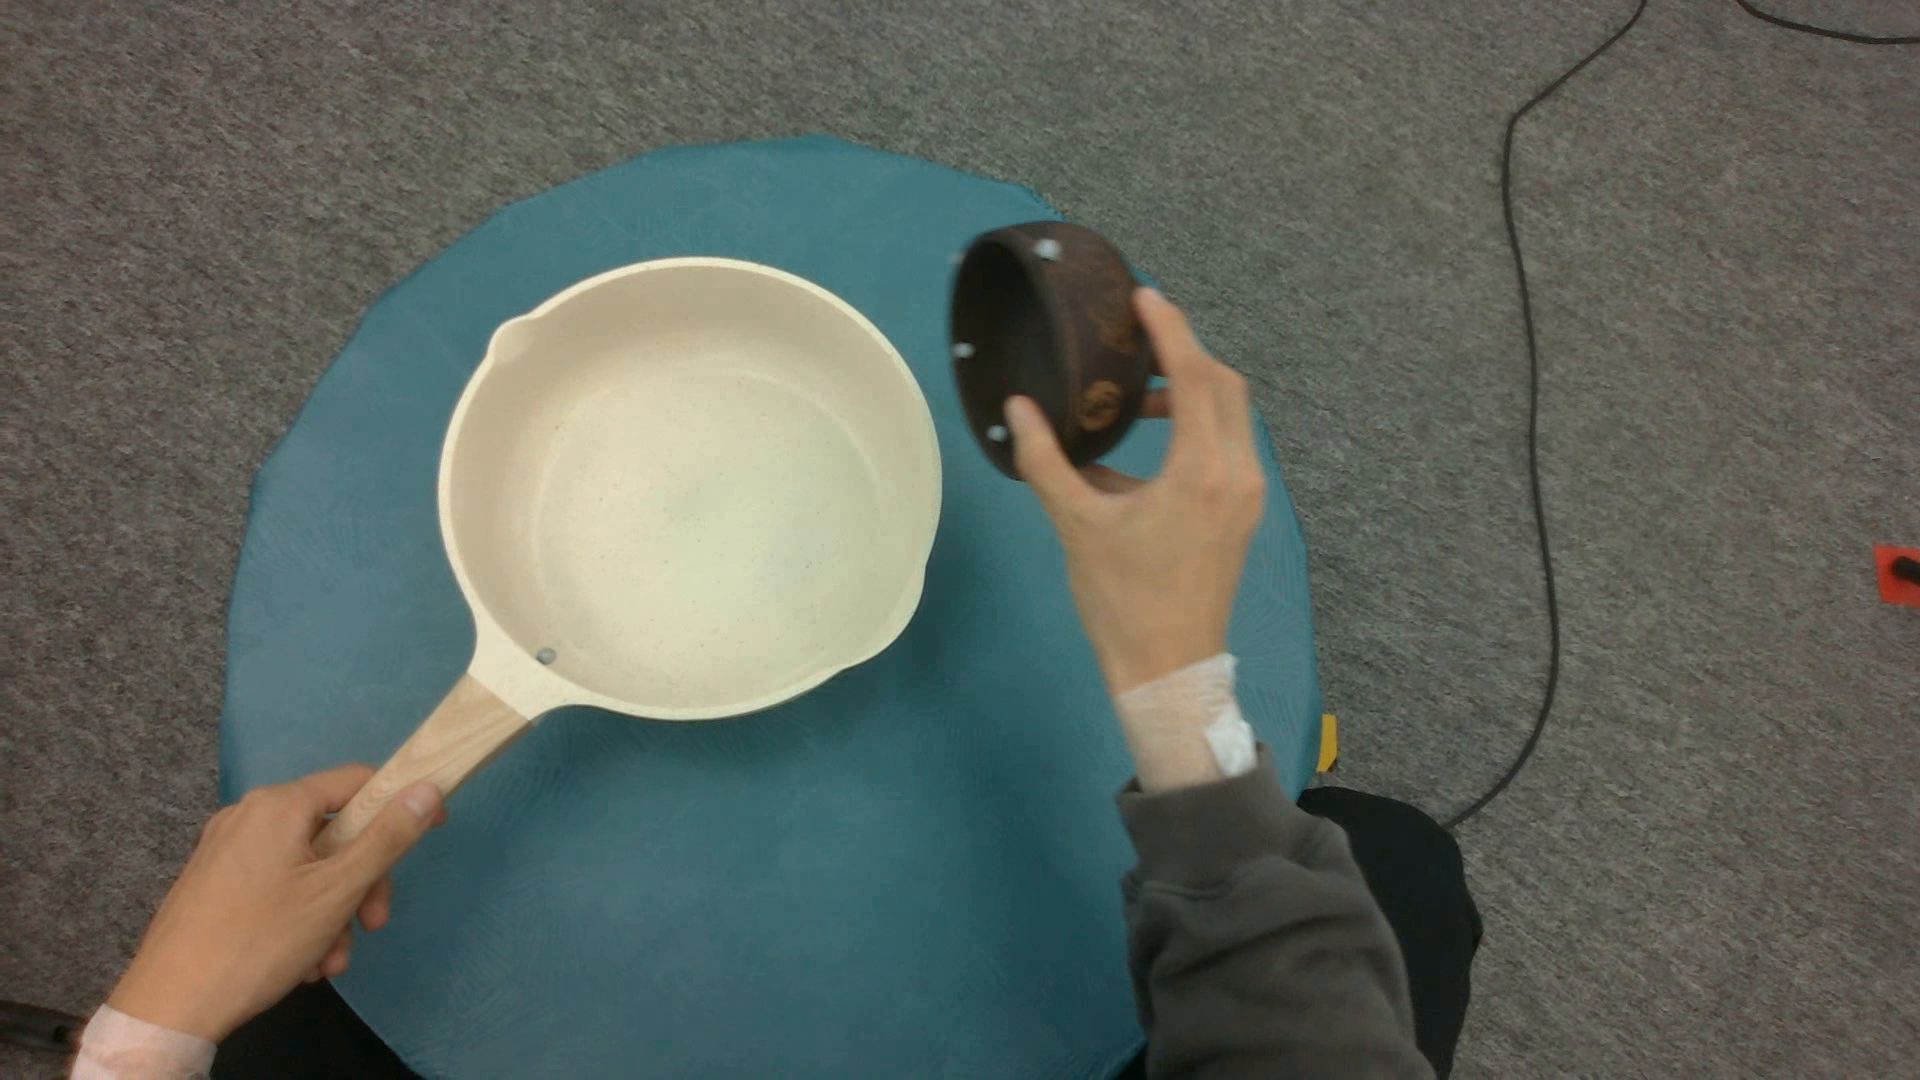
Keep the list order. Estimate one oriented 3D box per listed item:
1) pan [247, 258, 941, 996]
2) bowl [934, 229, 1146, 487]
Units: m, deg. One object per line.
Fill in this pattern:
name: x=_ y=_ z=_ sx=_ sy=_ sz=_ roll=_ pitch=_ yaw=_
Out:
pan: x=-0.191 y=0.046 z=0.721 sx=0.263 sy=0.101 sz=0.436 roll=36 pitch=74 yaw=6
bowl: x=0.043 y=-0.089 z=0.649 sx=0.070 sy=0.117 sz=0.118 roll=-18 pitch=74 yaw=-22
